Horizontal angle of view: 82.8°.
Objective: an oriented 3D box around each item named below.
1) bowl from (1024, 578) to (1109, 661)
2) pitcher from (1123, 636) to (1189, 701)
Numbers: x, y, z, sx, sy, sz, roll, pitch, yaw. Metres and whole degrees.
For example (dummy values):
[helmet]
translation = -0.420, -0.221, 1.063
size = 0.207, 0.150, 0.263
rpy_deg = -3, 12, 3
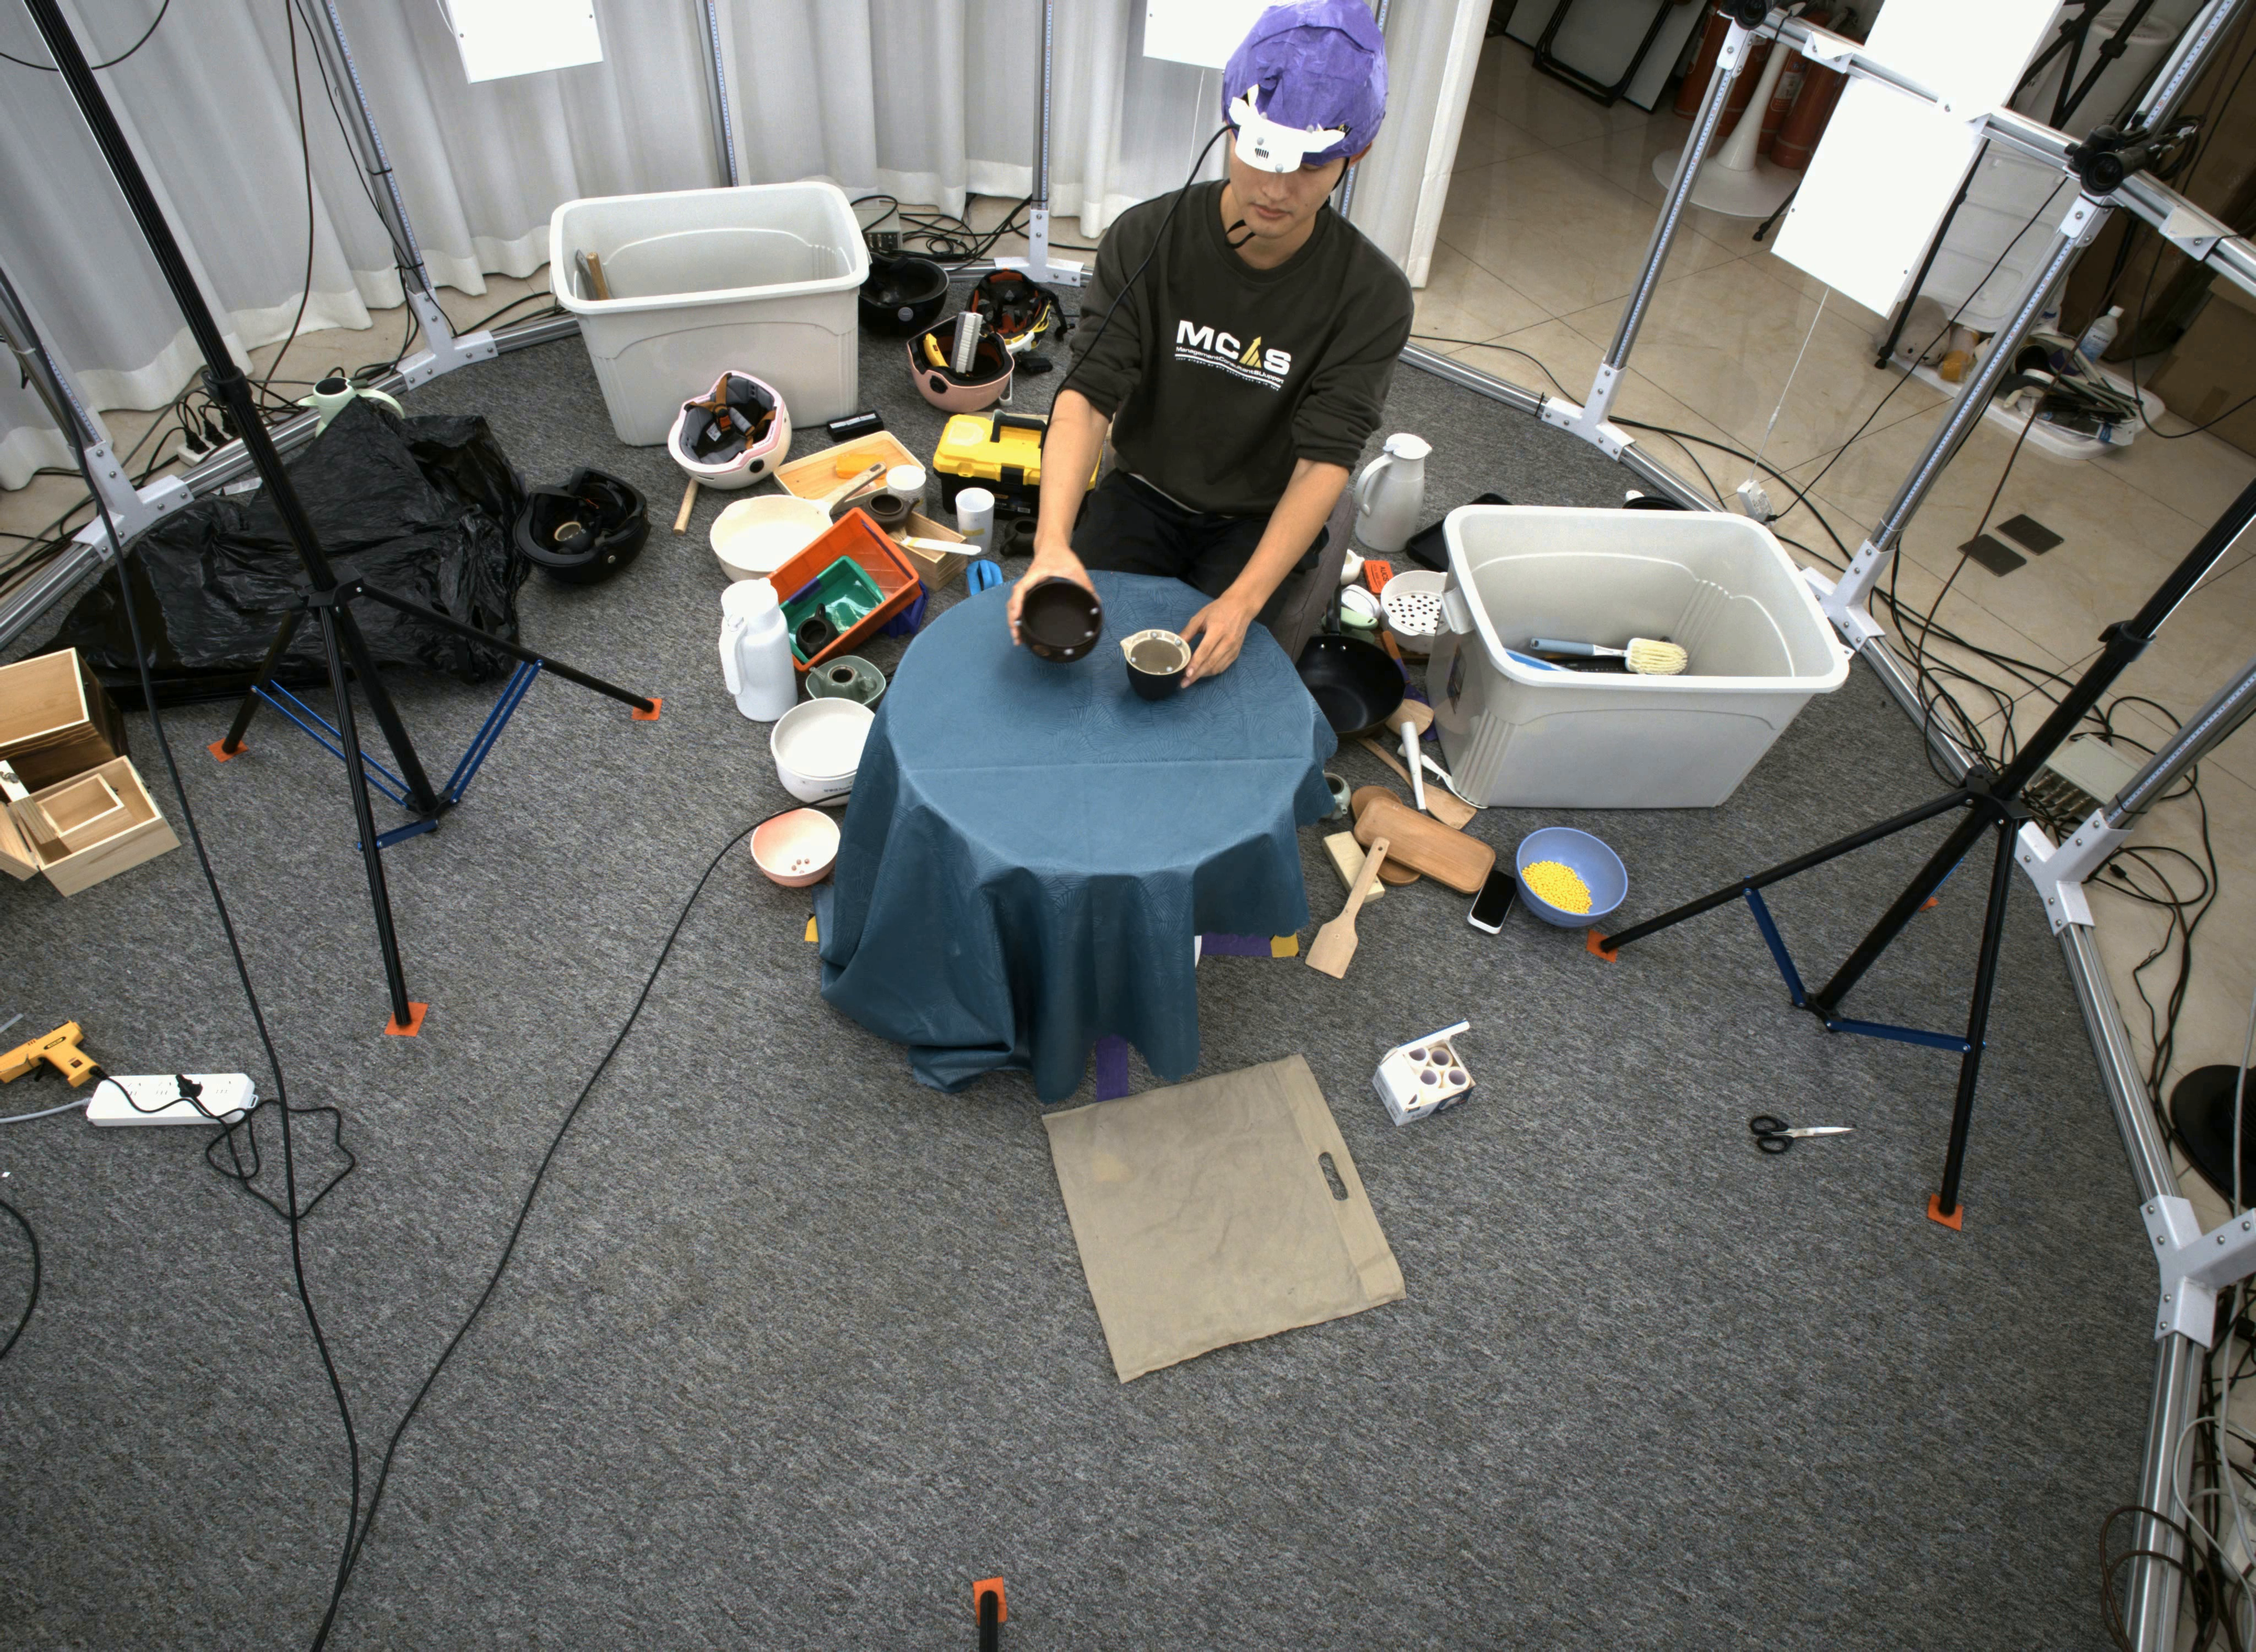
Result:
[bowl]
translation = -0.088, -0.281, 1.805
size = 0.118, 0.068, 0.120
rpy_deg = 4, 59, -6
[pitcher]
translation = 0.037, -0.221, 1.812
size = 0.096, 0.069, 0.085
rpy_deg = 22, 53, 16
